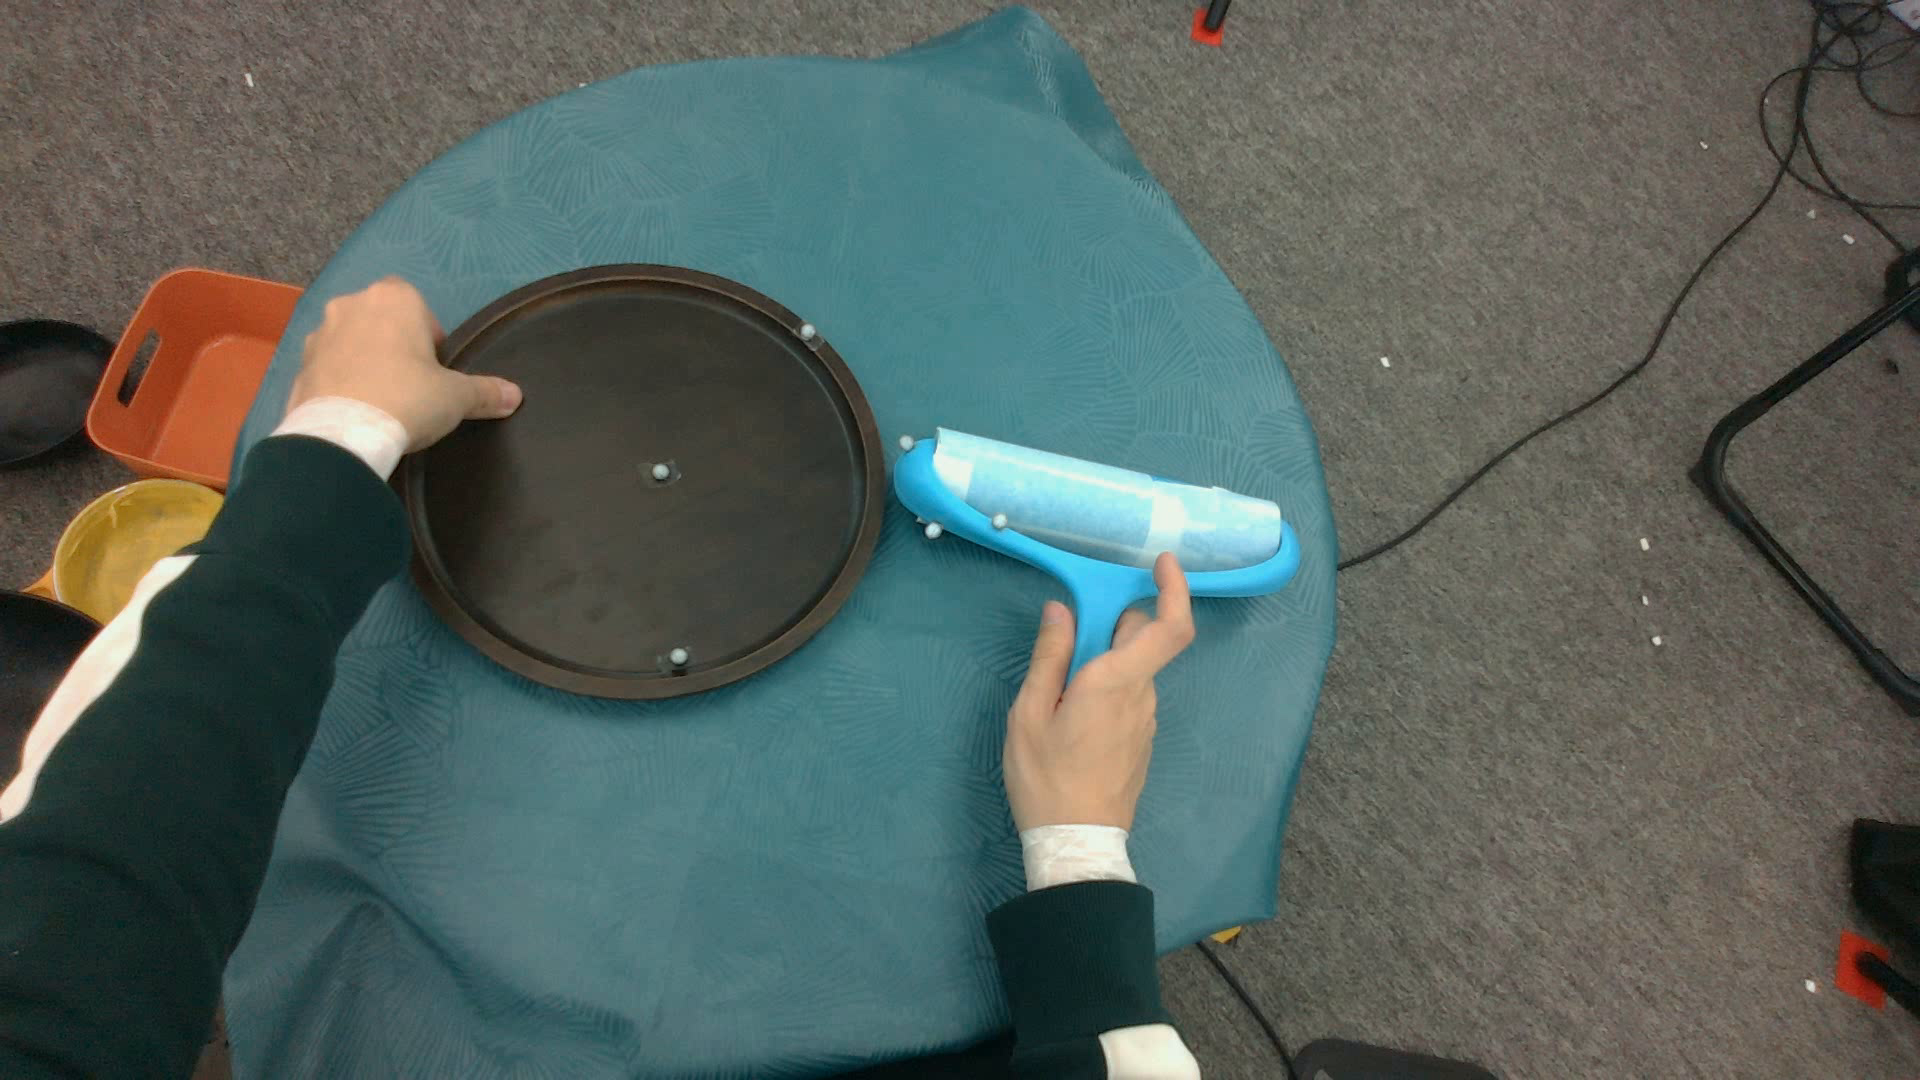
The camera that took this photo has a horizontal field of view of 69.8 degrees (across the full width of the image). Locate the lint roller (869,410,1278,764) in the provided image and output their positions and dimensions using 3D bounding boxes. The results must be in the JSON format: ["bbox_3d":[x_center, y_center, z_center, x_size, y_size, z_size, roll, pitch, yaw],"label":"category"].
[{"bbox_3d":[0.061,0.024,0.729,0.229,0.067,0.181,8,62,-10],"label":"lint roller"}]

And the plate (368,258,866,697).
[{"bbox_3d":[-0.176,-0.038,0.727,0.255,0.029,0.255,5,65,-10],"label":"plate"}]
